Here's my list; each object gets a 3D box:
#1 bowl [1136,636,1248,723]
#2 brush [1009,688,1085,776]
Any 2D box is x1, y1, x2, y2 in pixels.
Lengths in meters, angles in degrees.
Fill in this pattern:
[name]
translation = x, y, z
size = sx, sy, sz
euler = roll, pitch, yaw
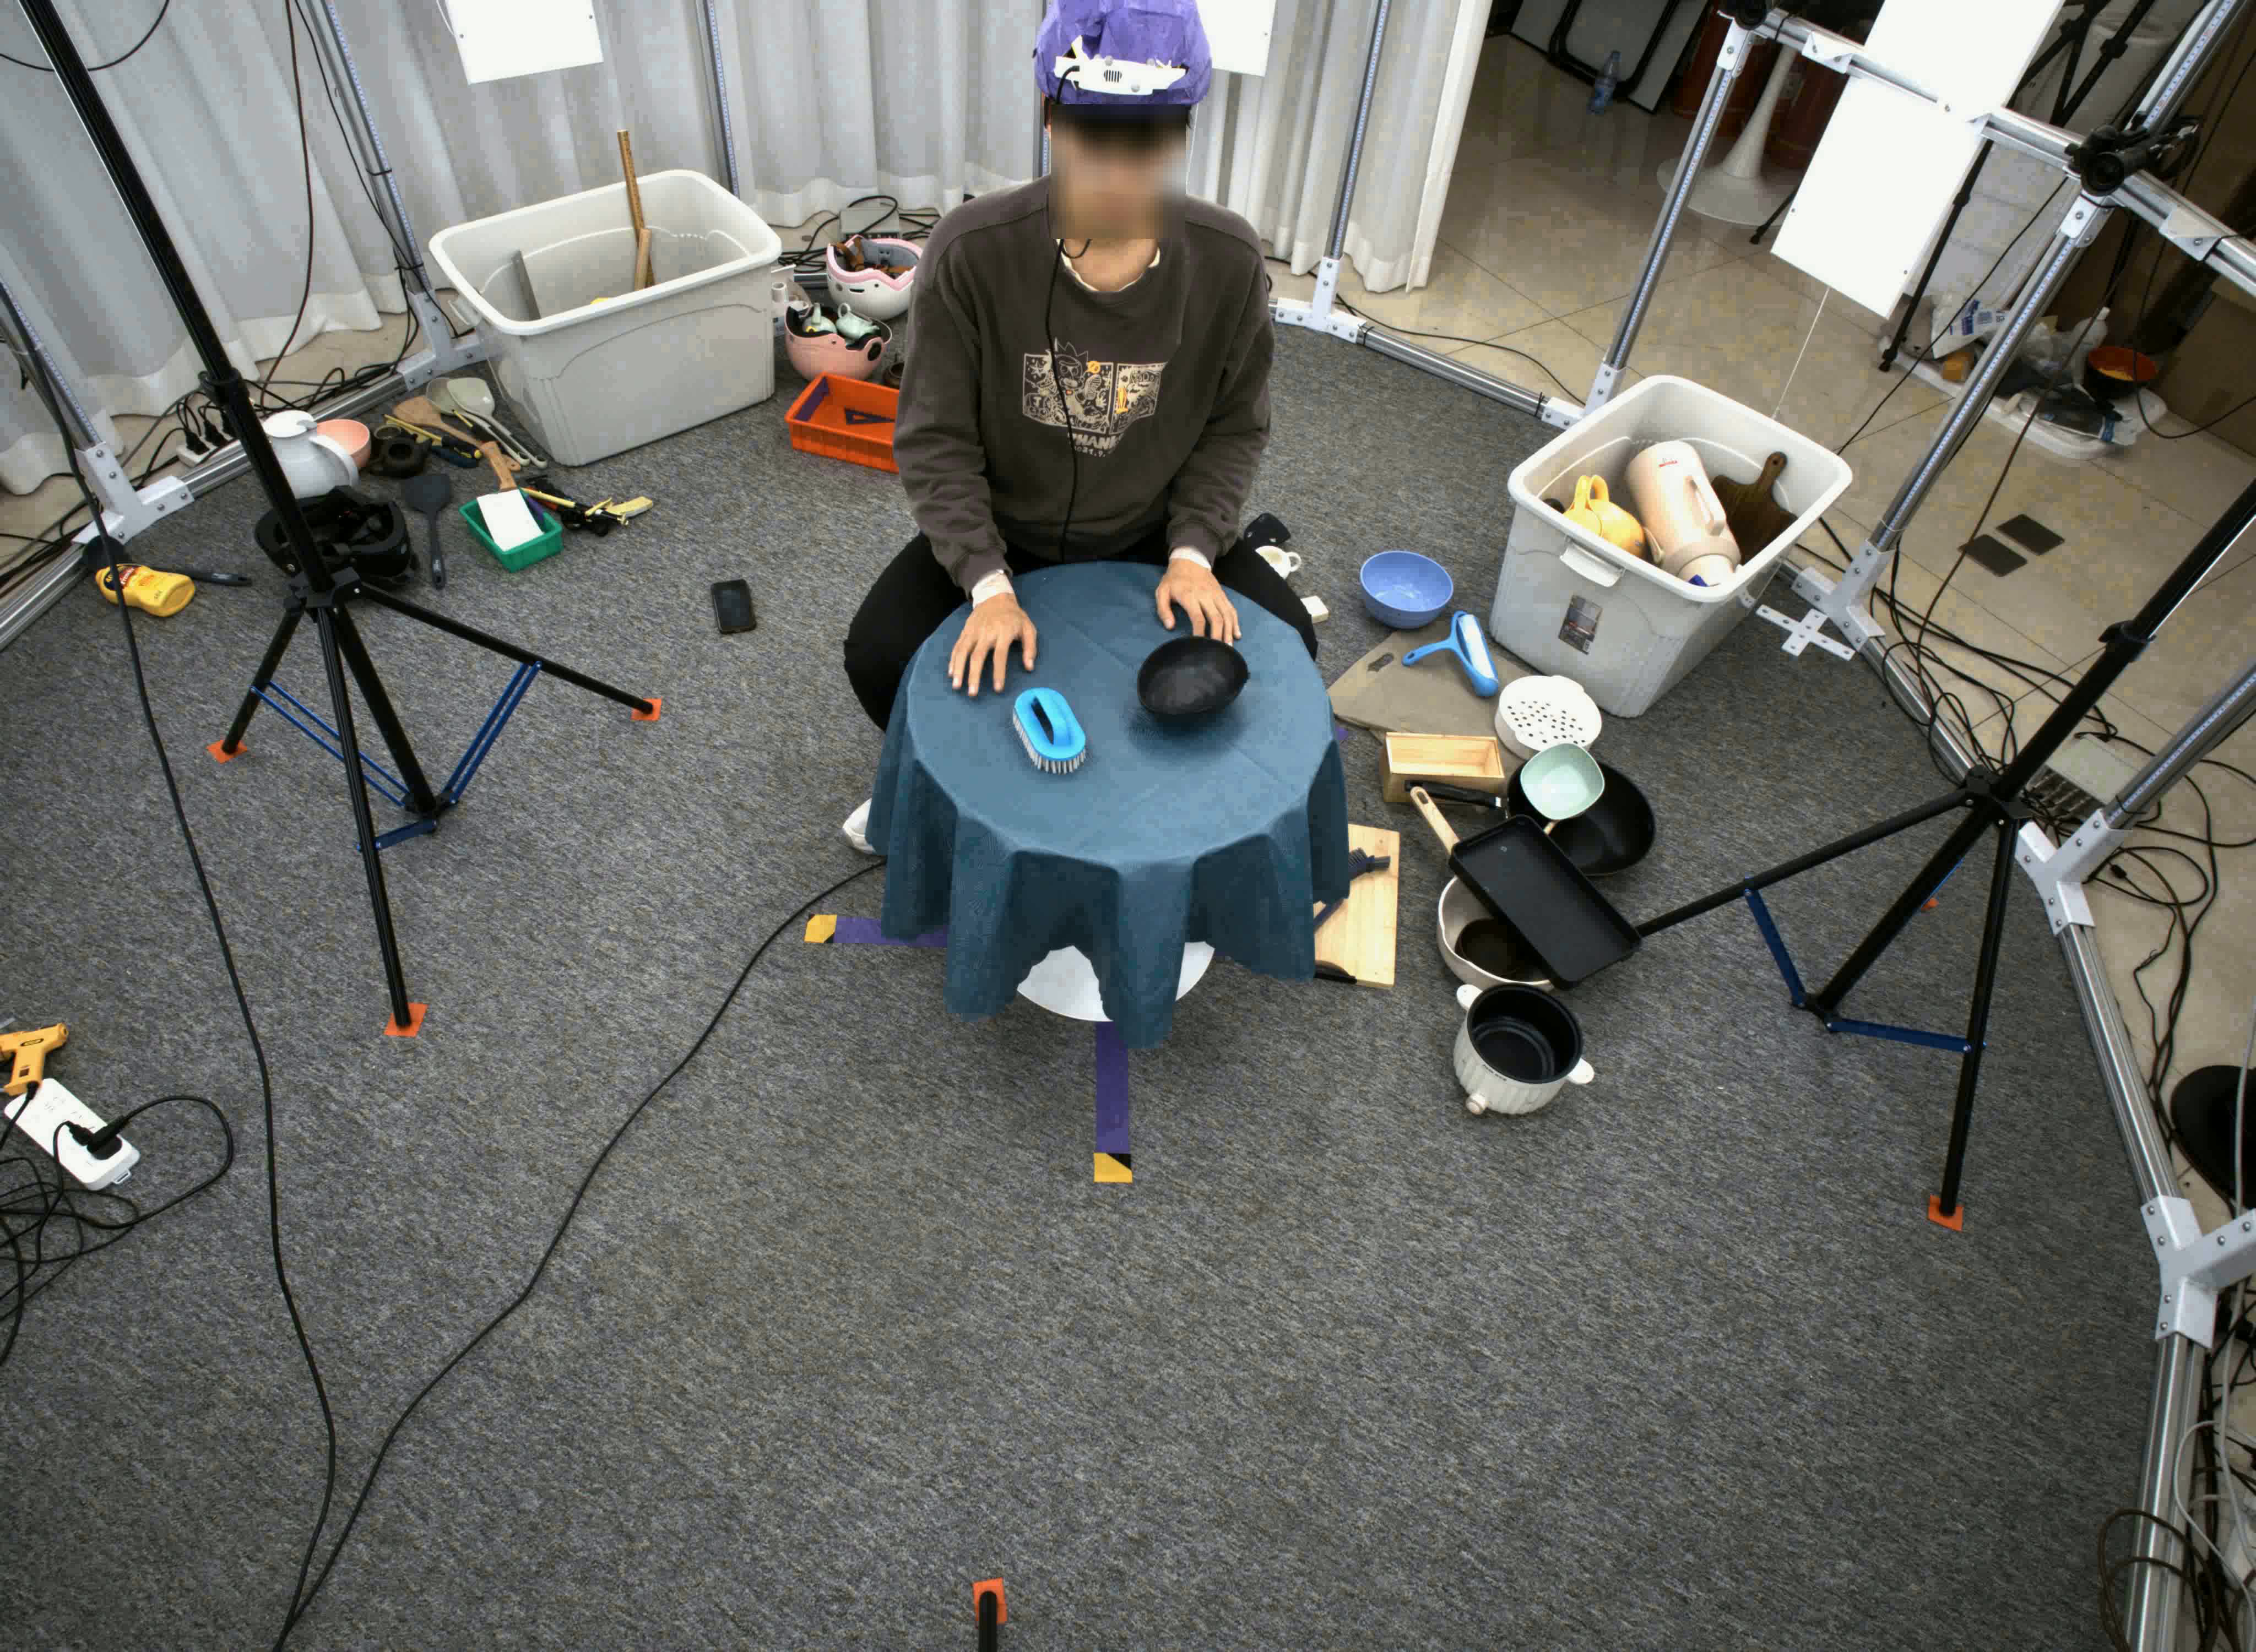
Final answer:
[bowl]
translation = 0.089, -0.193, 1.798
size = 0.171, 0.065, 0.139
euler = -34, 58, -27
[brush]
translation = -0.107, -0.140, 1.738
size = 0.084, 0.062, 0.145
euler = -11, 52, -19
